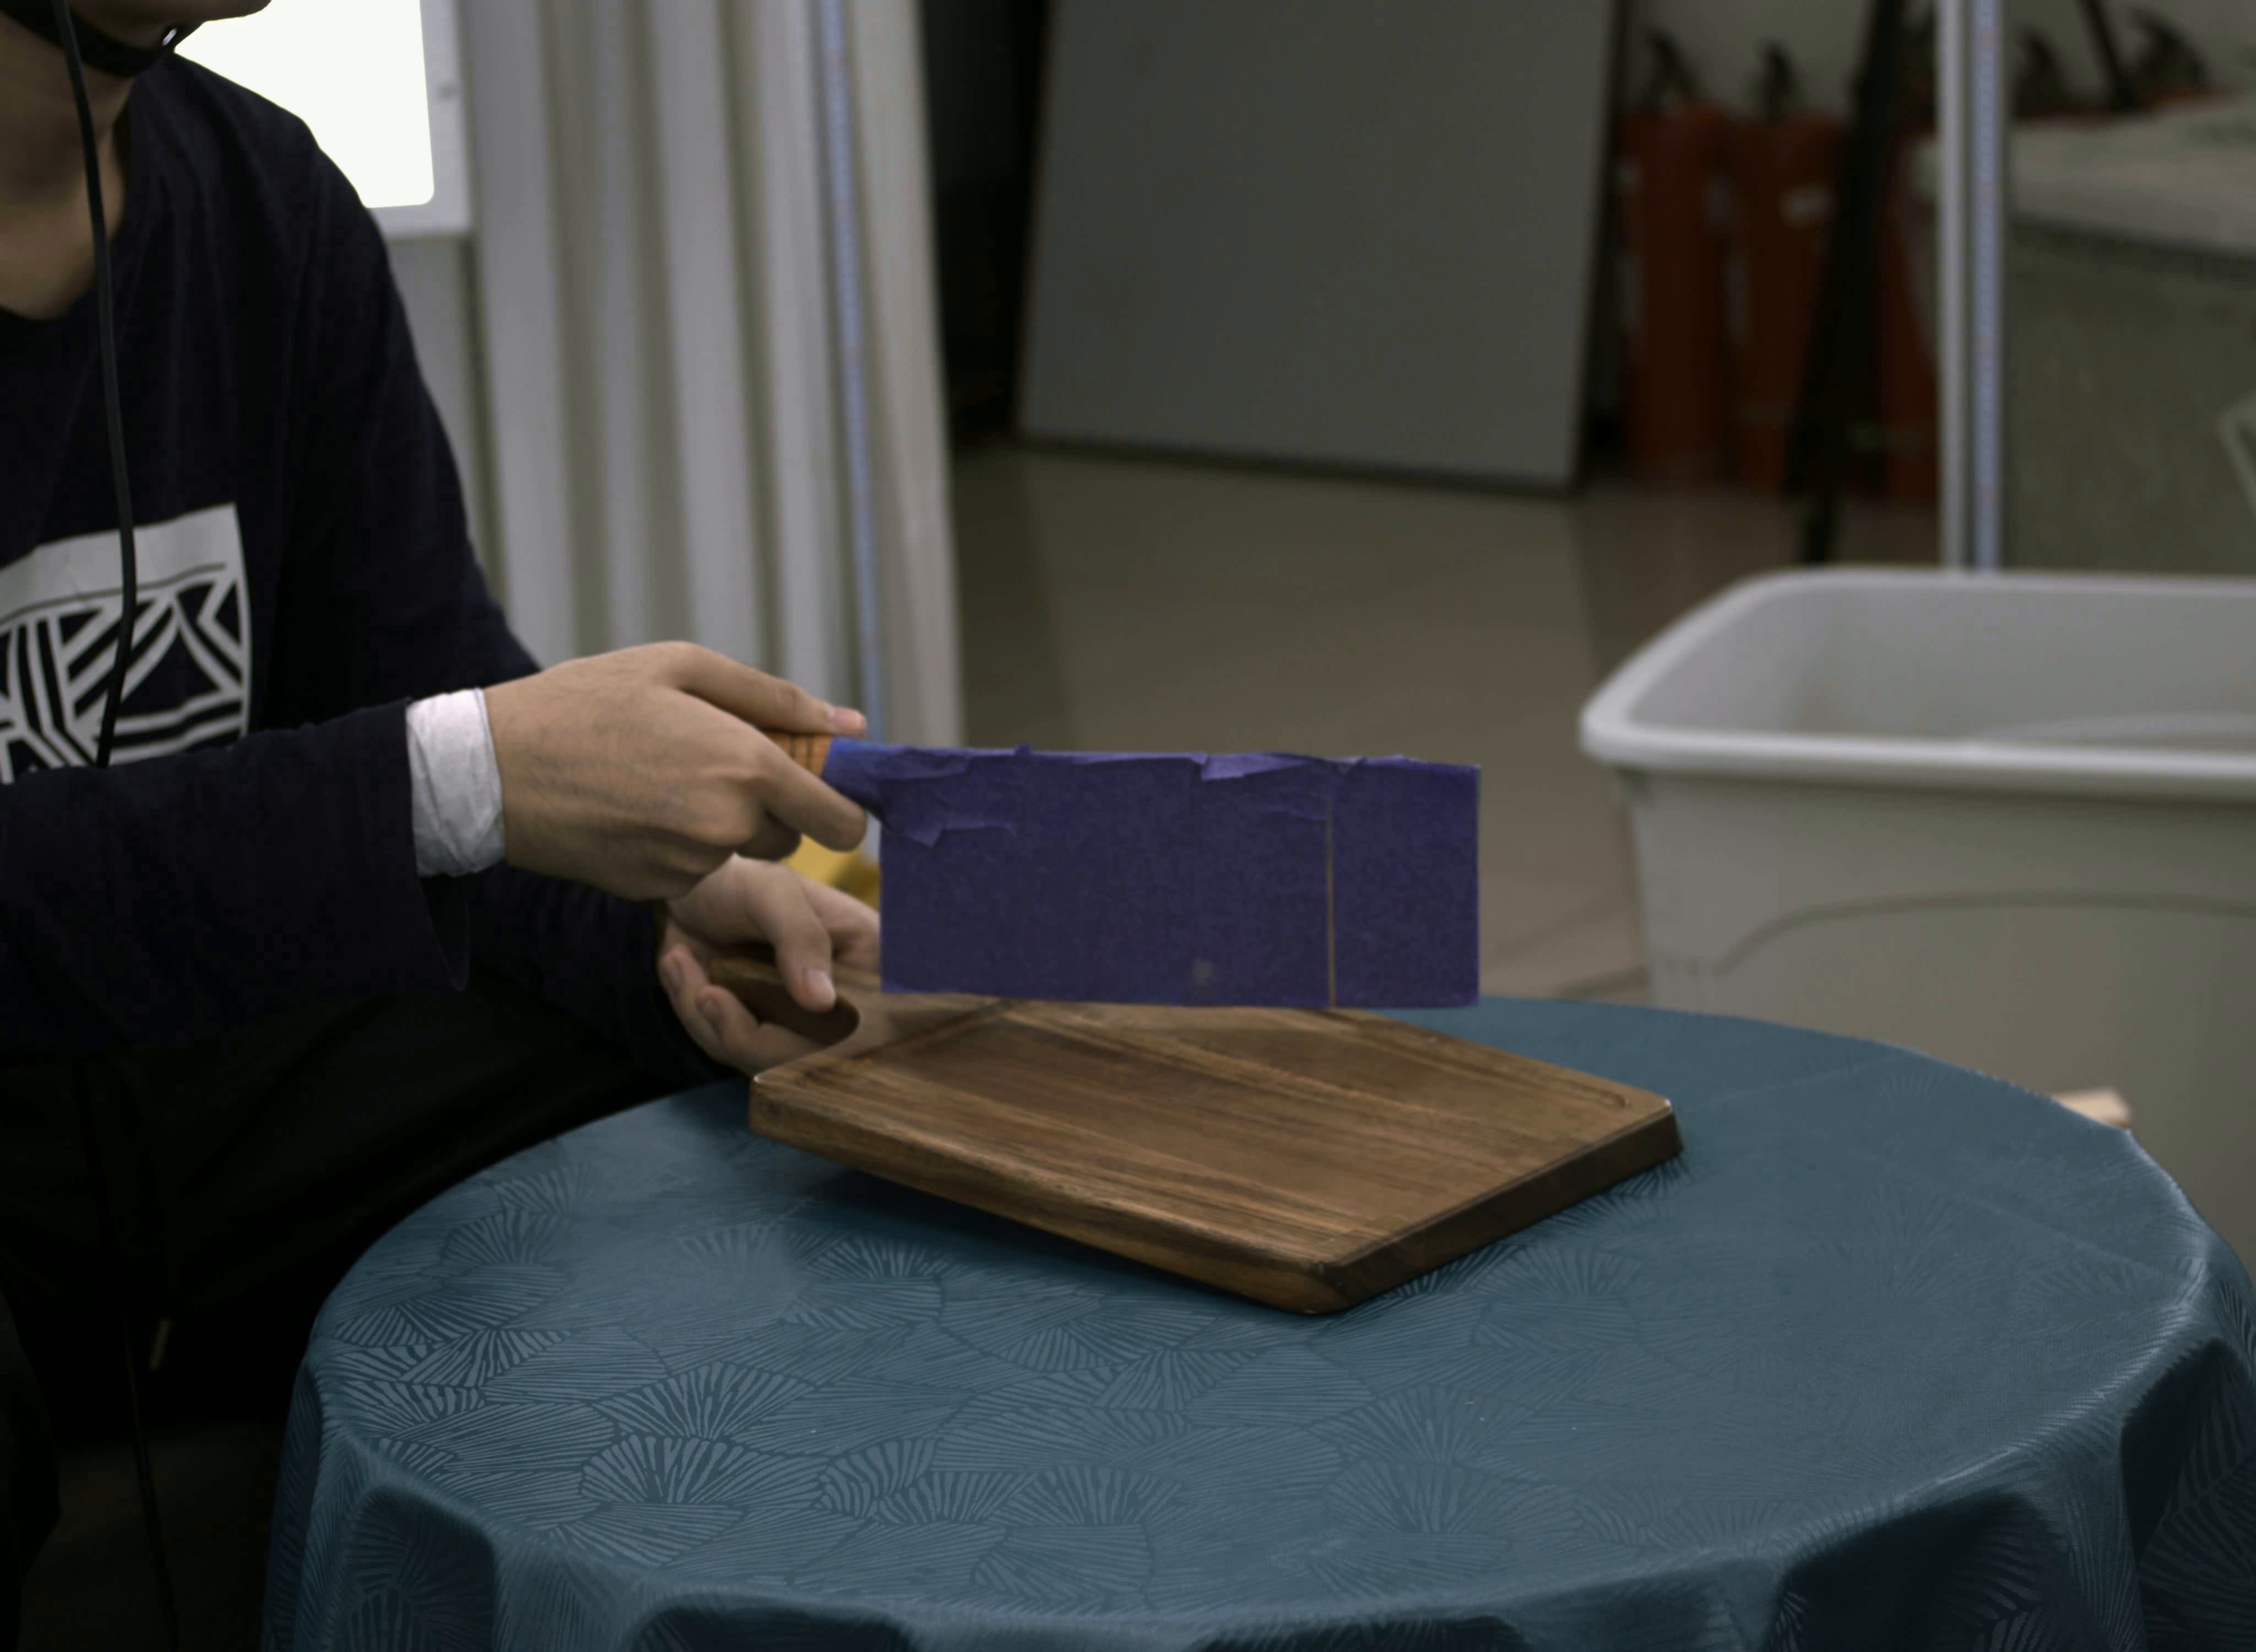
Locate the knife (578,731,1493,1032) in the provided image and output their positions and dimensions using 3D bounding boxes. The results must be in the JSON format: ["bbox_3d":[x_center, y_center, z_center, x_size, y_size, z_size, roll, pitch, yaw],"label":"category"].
[{"bbox_3d":[-0.032,0.018,1.836,0.312,0.105,0.032,1,15,8],"label":"knife"}]

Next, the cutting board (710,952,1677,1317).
[{"bbox_3d":[-0.009,0.088,1.811,0.355,0.023,0.197,14,22,40],"label":"cutting board"}]
